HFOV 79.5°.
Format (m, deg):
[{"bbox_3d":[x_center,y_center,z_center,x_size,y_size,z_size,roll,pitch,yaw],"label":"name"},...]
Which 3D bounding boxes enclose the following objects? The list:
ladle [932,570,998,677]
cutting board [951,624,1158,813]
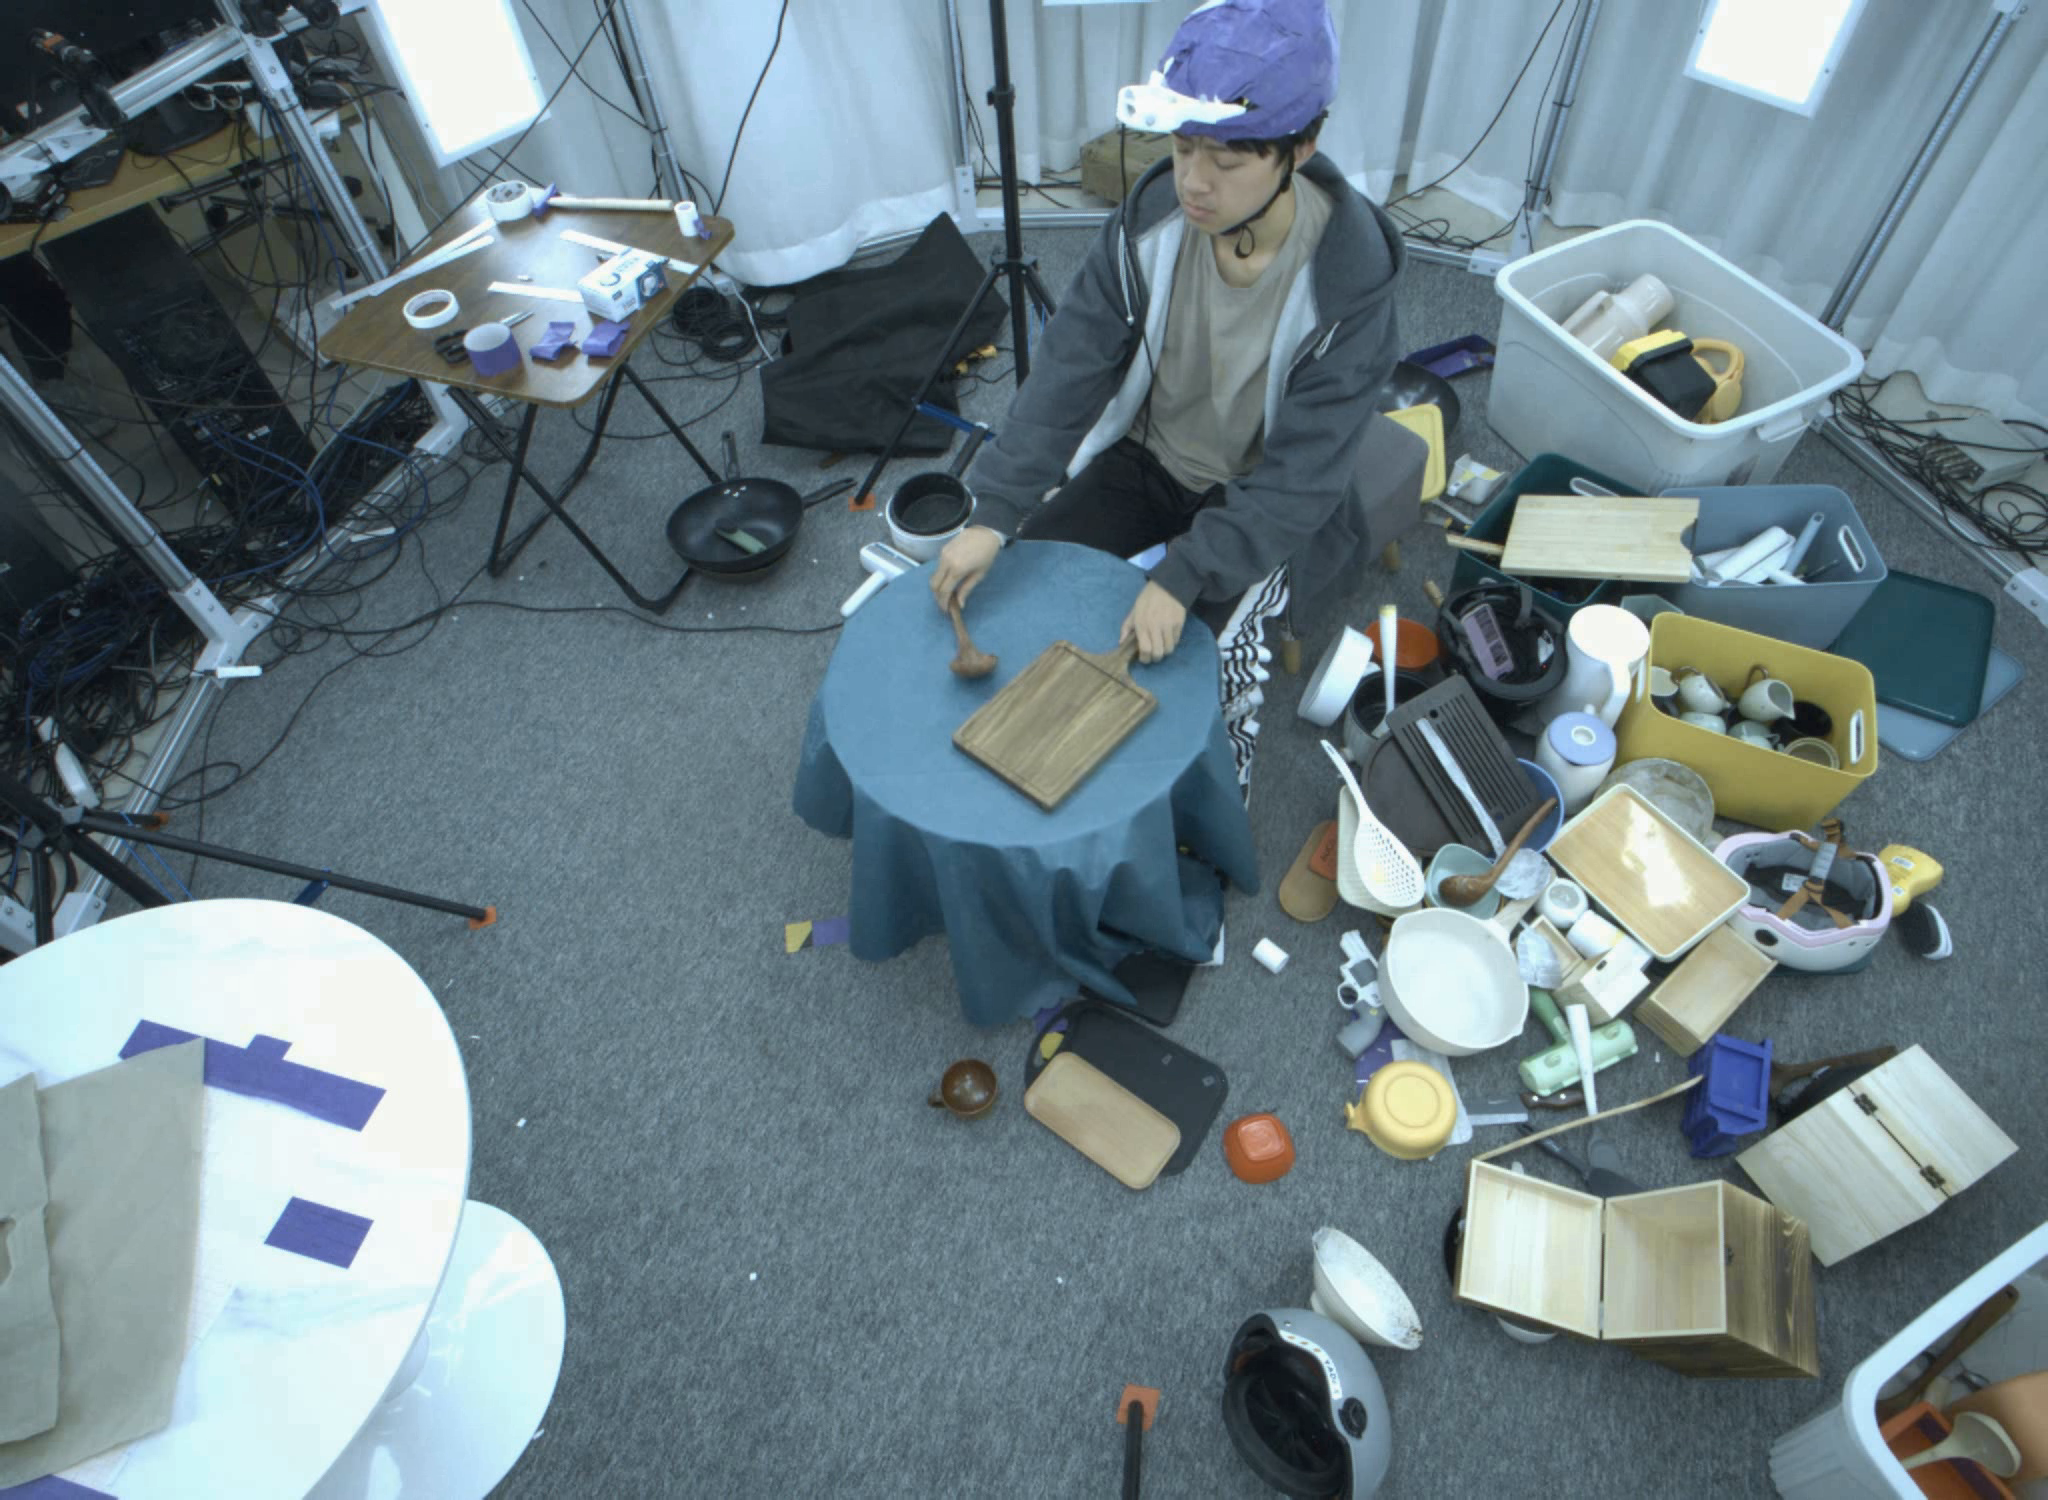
[{"bbox_3d":[-0.103,-0.207,1.900,0.077,0.065,0.256,-5,54,-19],"label":"ladle"},{"bbox_3d":[0.079,-0.073,1.825,0.198,0.023,0.354,35,63,22],"label":"cutting board"}]
